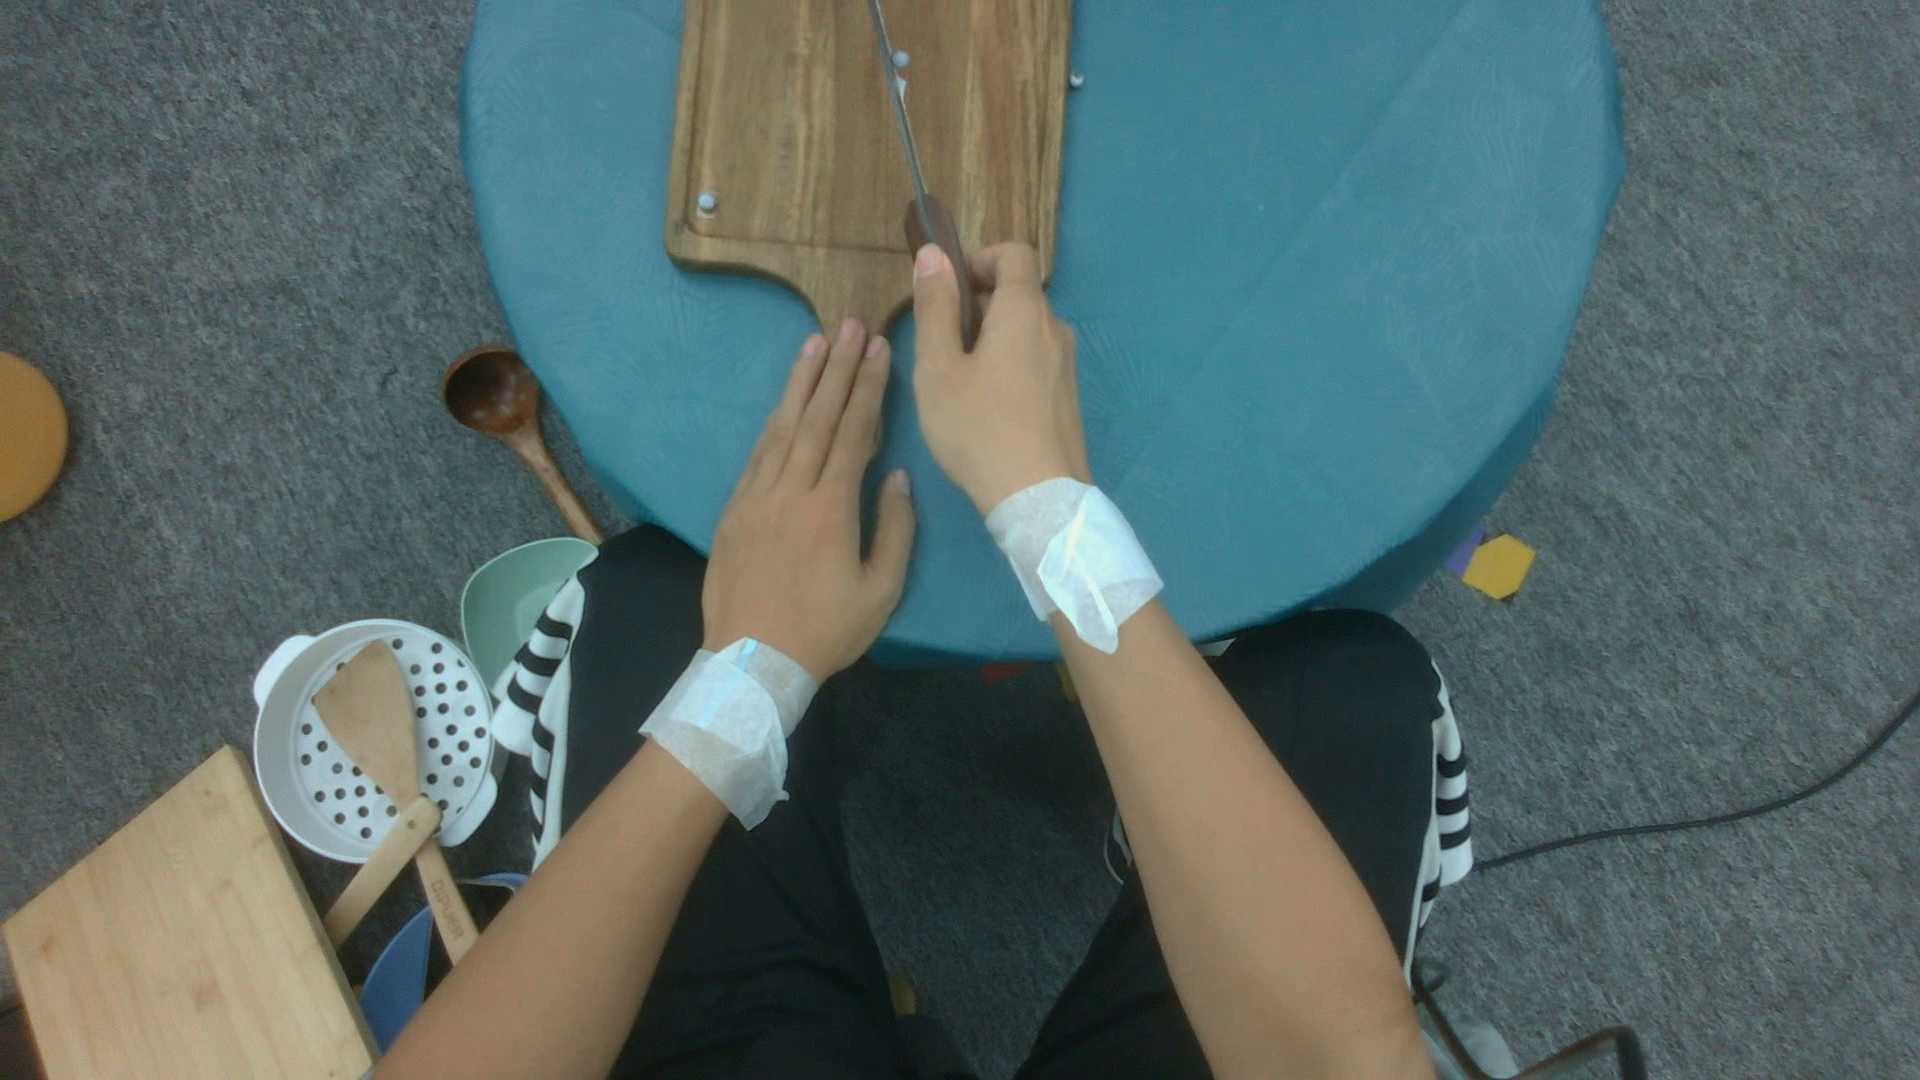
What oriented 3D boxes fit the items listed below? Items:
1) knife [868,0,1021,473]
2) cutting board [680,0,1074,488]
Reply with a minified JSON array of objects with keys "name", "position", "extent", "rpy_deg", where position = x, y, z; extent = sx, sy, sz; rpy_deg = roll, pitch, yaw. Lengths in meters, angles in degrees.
[{"name":"knife","position":[-0.016,-0.169,0.665],"extent":[0.024,0.068,0.300],"rpy_deg":[-16,78,5]},{"name":"cutting board","position":[-0.043,-0.202,0.724],"extent":[0.201,0.023,0.352],"rpy_deg":[4,82,-1]}]
